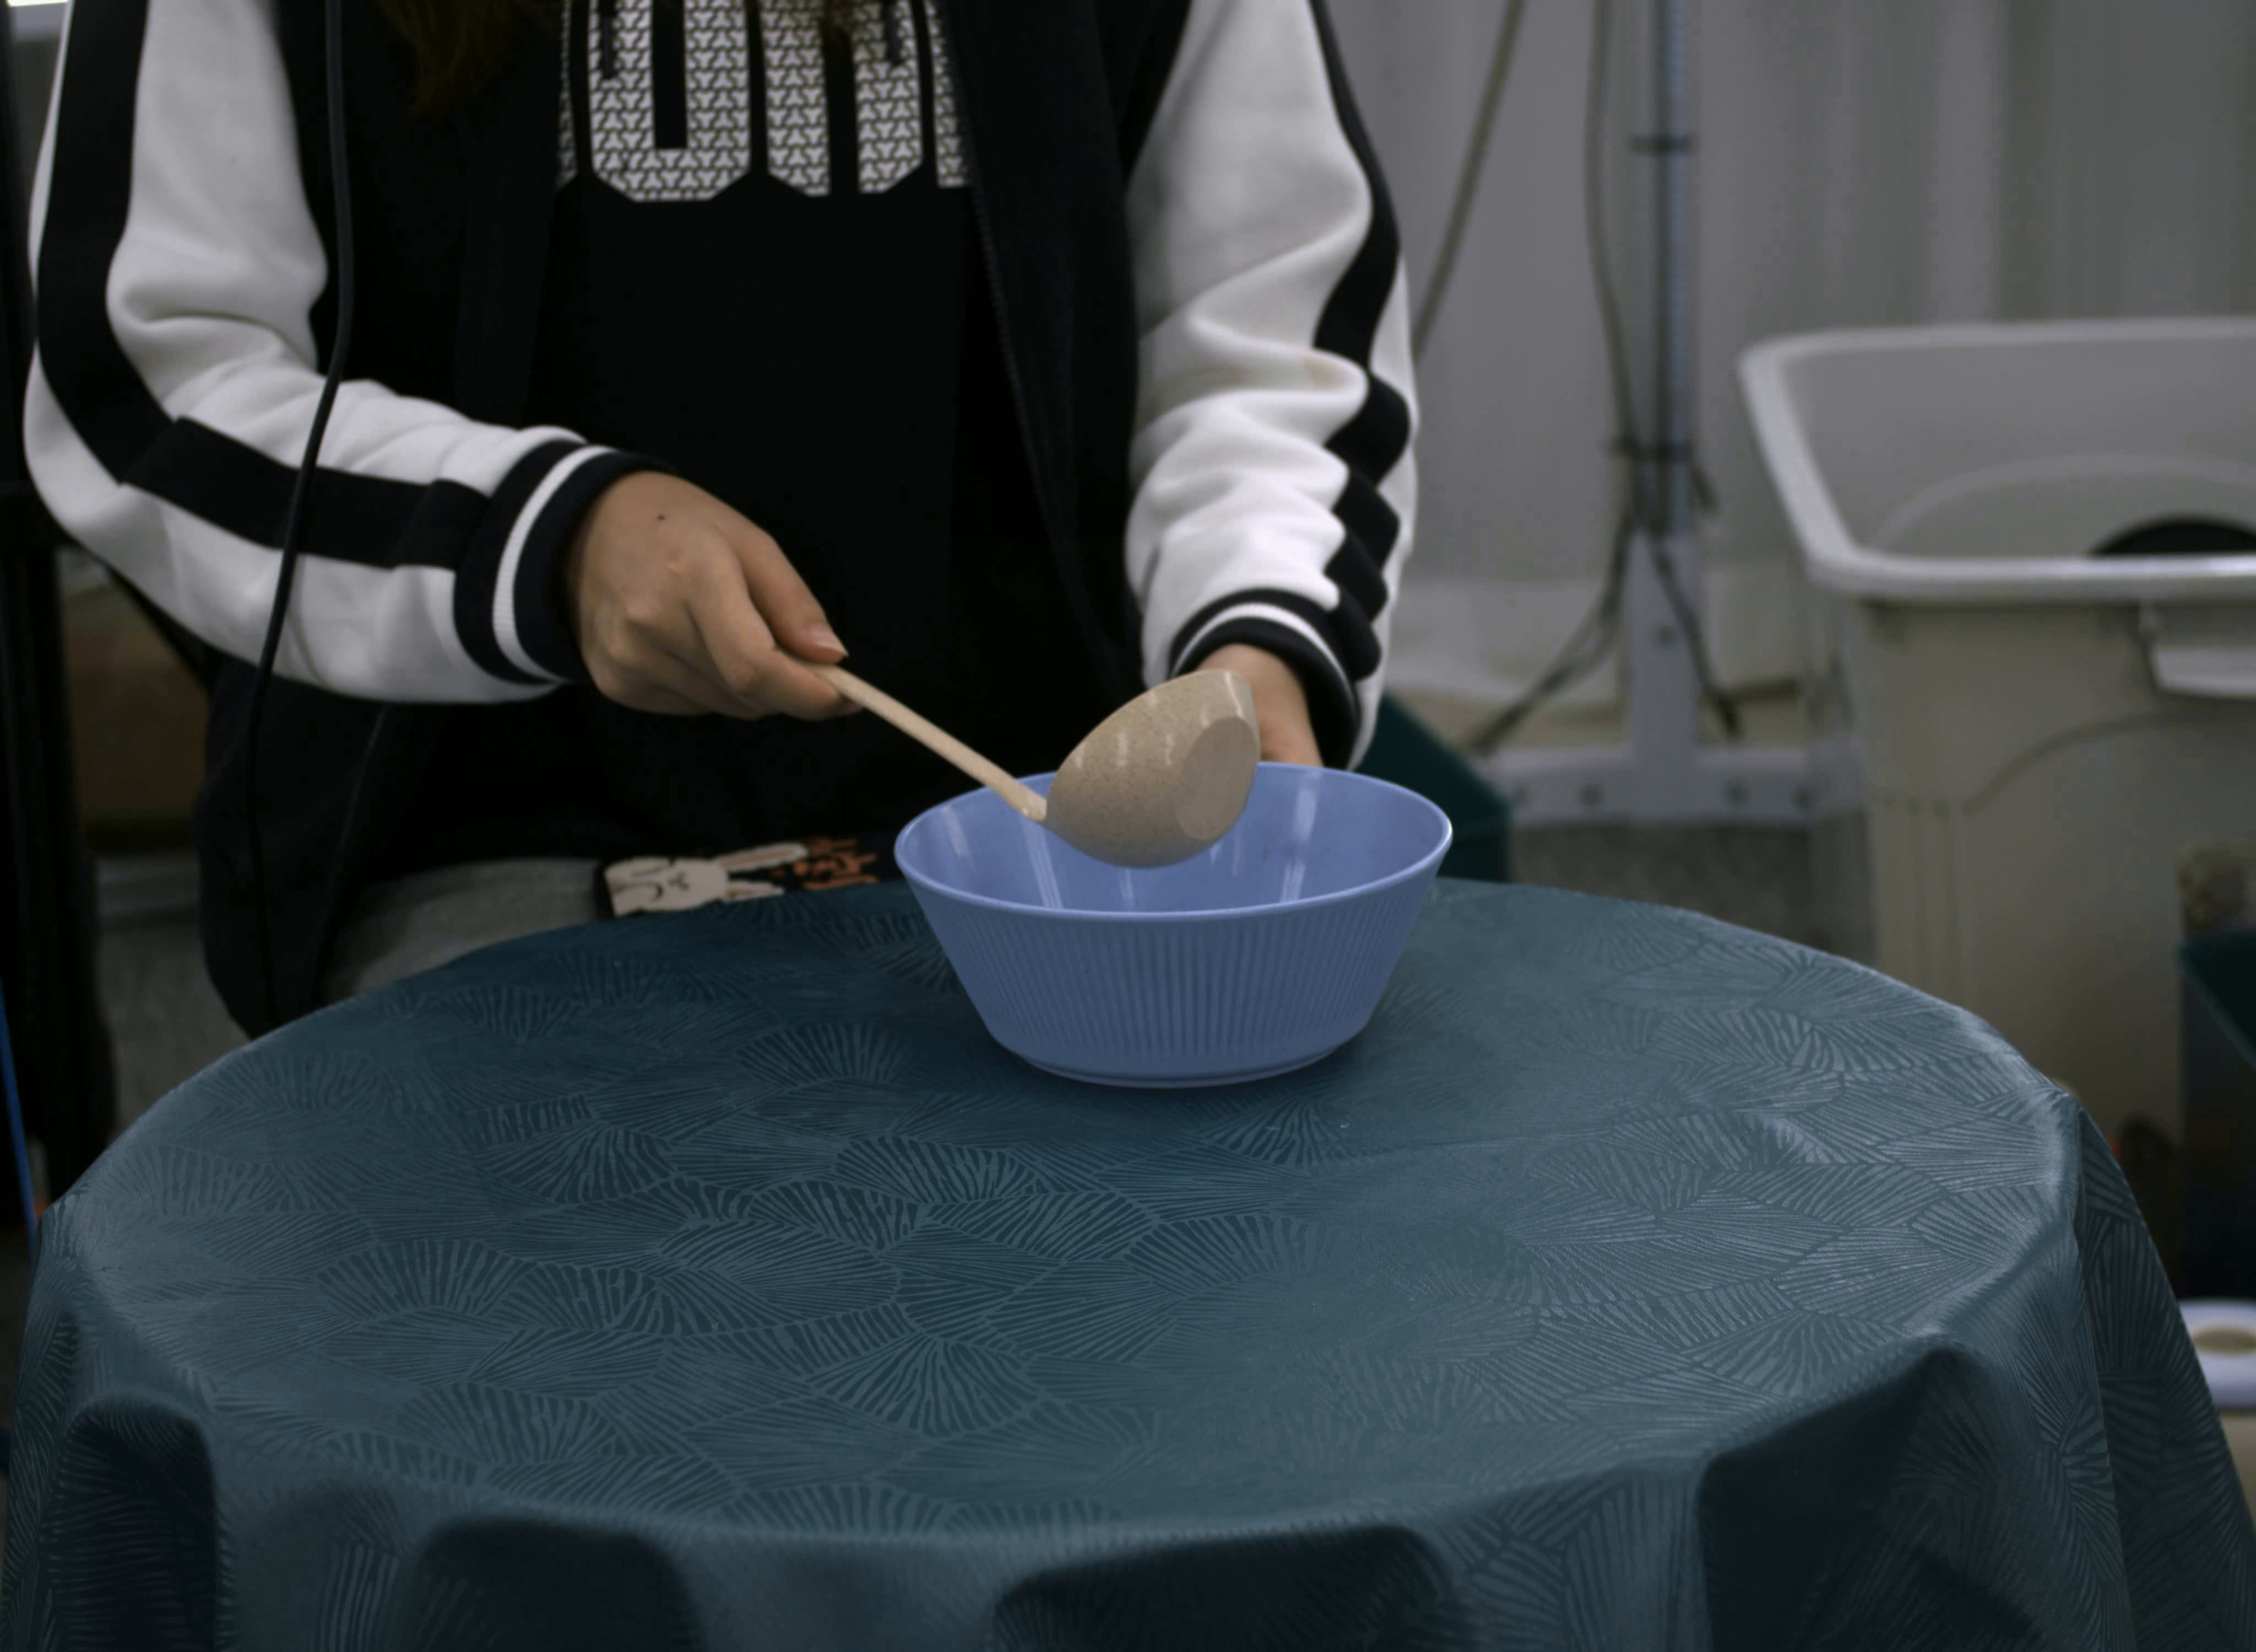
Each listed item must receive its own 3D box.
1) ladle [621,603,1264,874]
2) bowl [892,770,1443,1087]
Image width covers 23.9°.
[{"bbox_3d":[-0.063,-0.057,1.717,0.260,0.073,0.070,28,12,36],"label":"ladle"},{"bbox_3d":[0.013,0.034,1.689,0.175,0.070,0.177,-2,16,-1],"label":"bowl"}]
